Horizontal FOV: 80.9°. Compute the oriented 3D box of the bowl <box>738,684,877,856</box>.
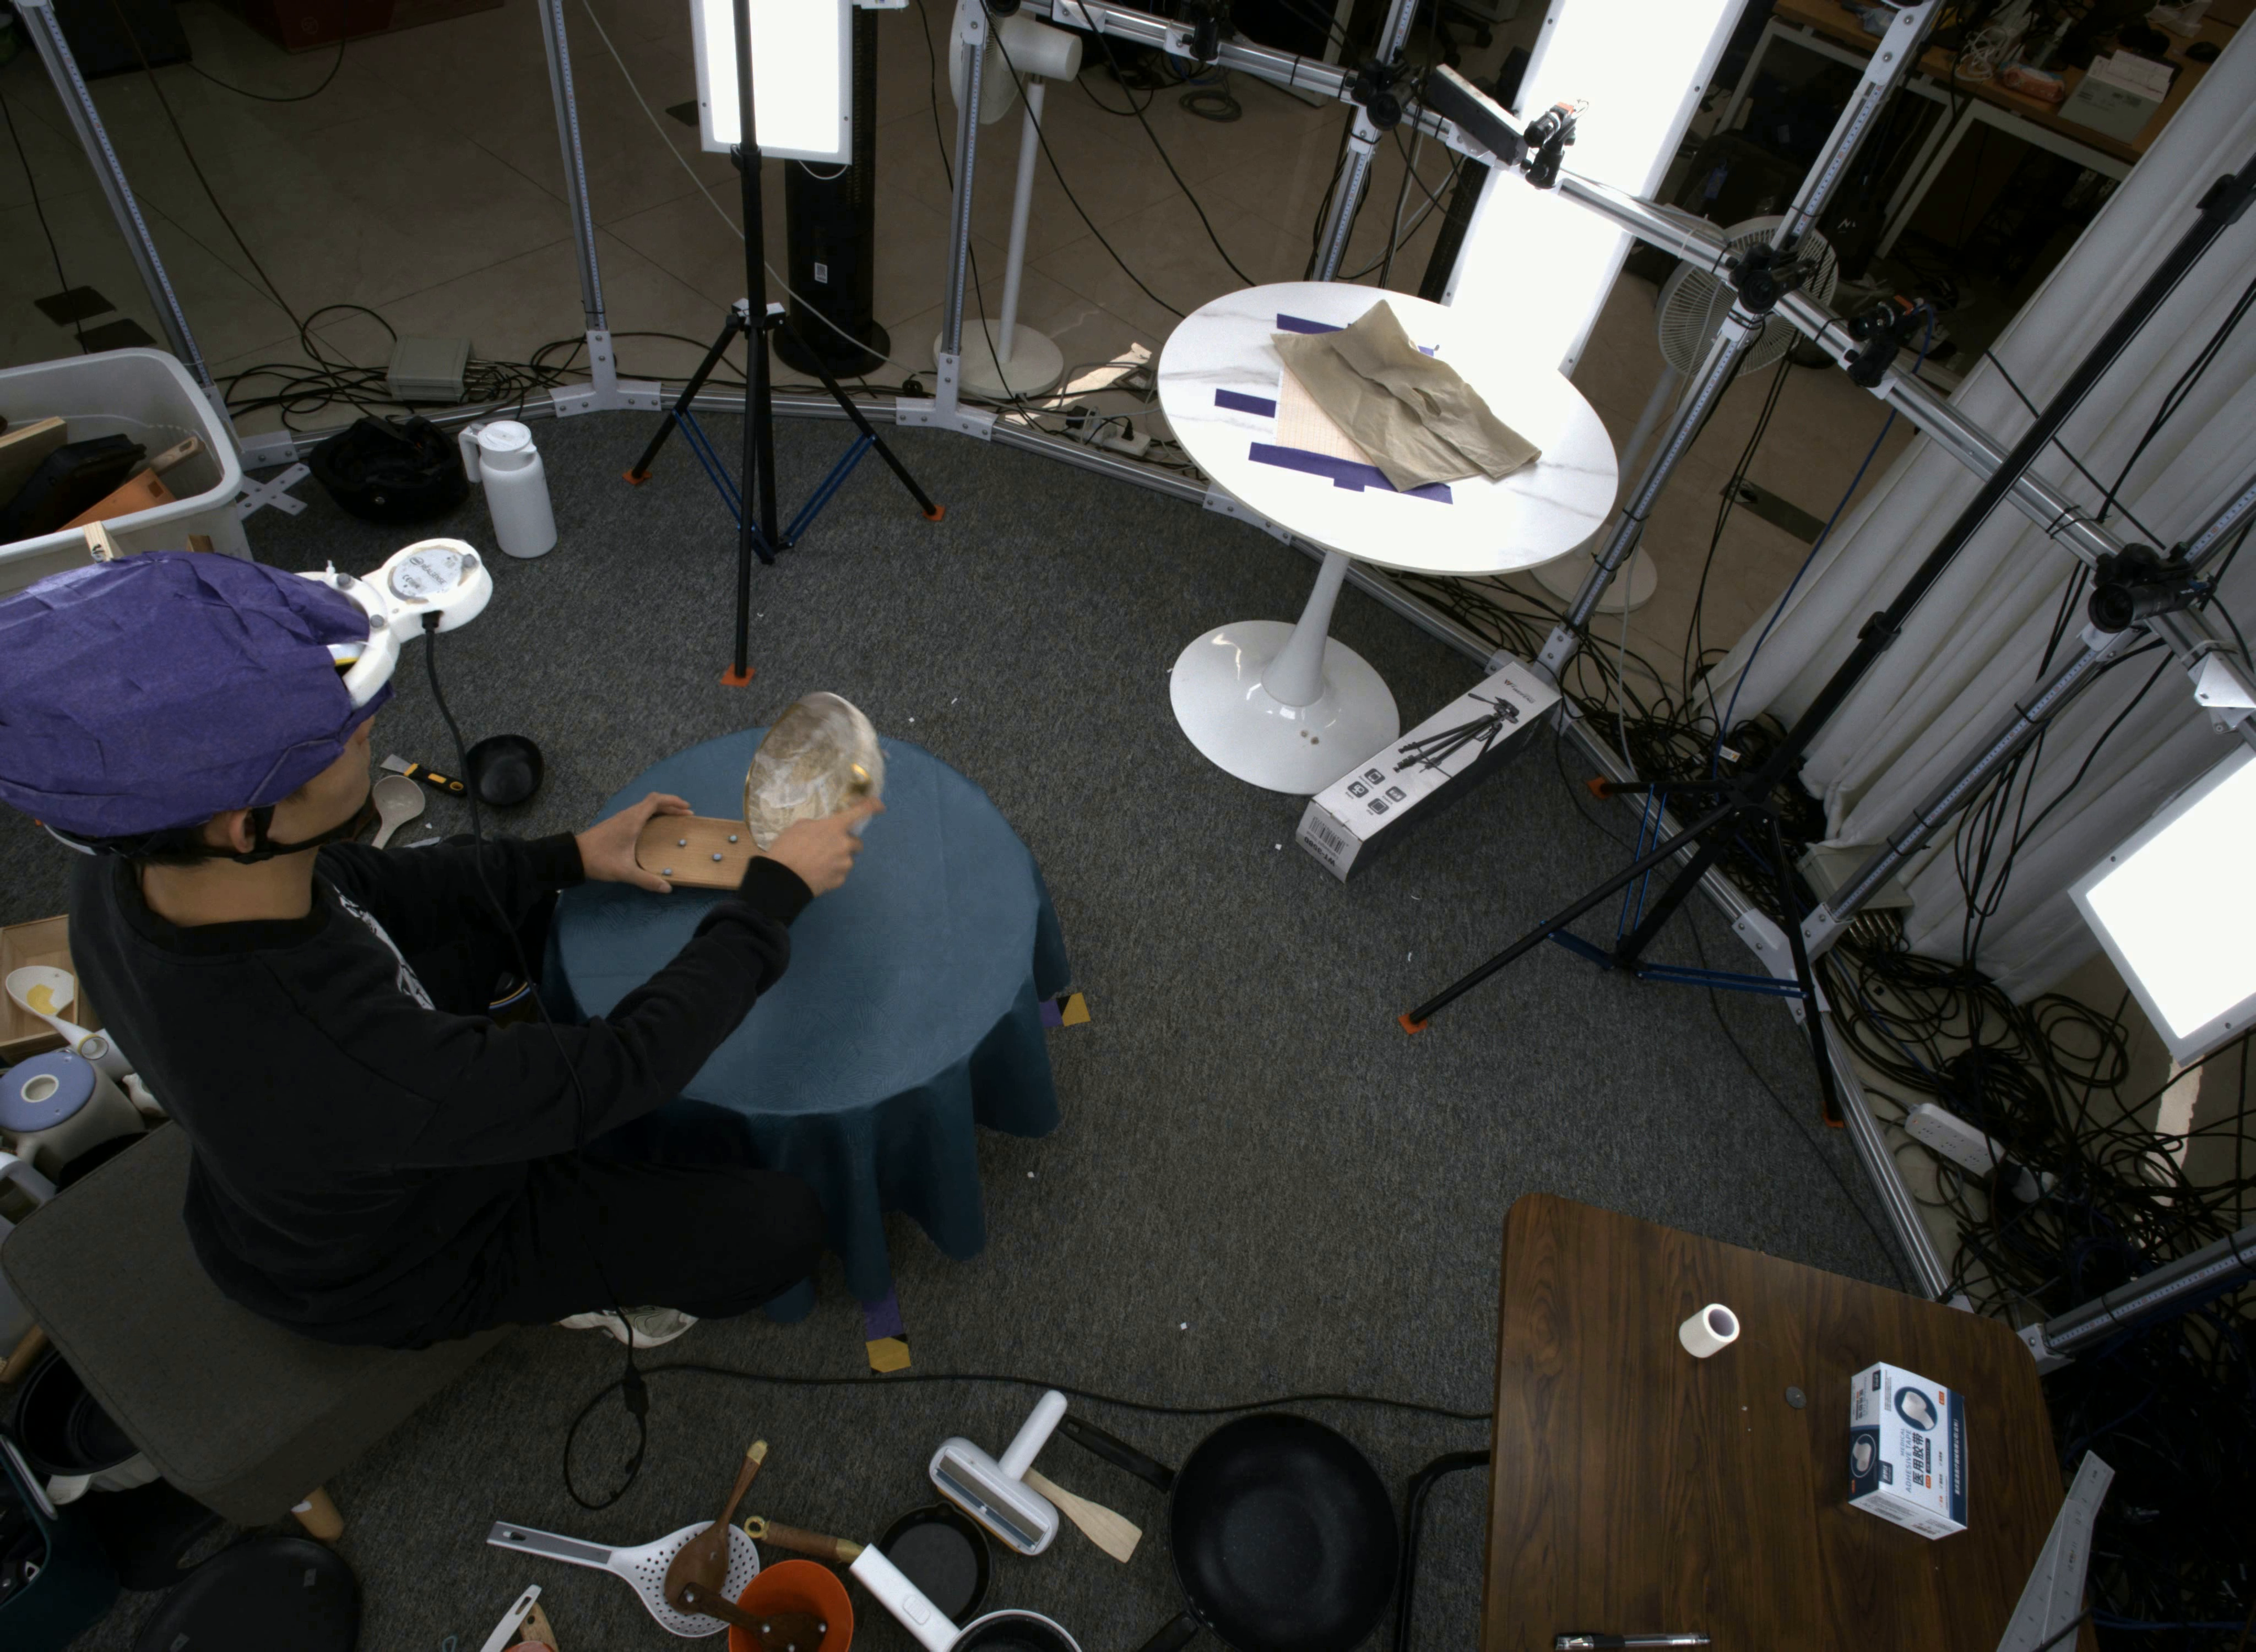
[{"bbox_3d":[-0.368,-0.054,1.544,0.097,0.213,0.209,23,37,-48],"label":"bowl"}]

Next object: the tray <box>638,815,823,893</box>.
[{"bbox_3d":[-0.506,0.036,1.648,0.234,0.020,0.100,6,56,-23],"label":"tray"}]
